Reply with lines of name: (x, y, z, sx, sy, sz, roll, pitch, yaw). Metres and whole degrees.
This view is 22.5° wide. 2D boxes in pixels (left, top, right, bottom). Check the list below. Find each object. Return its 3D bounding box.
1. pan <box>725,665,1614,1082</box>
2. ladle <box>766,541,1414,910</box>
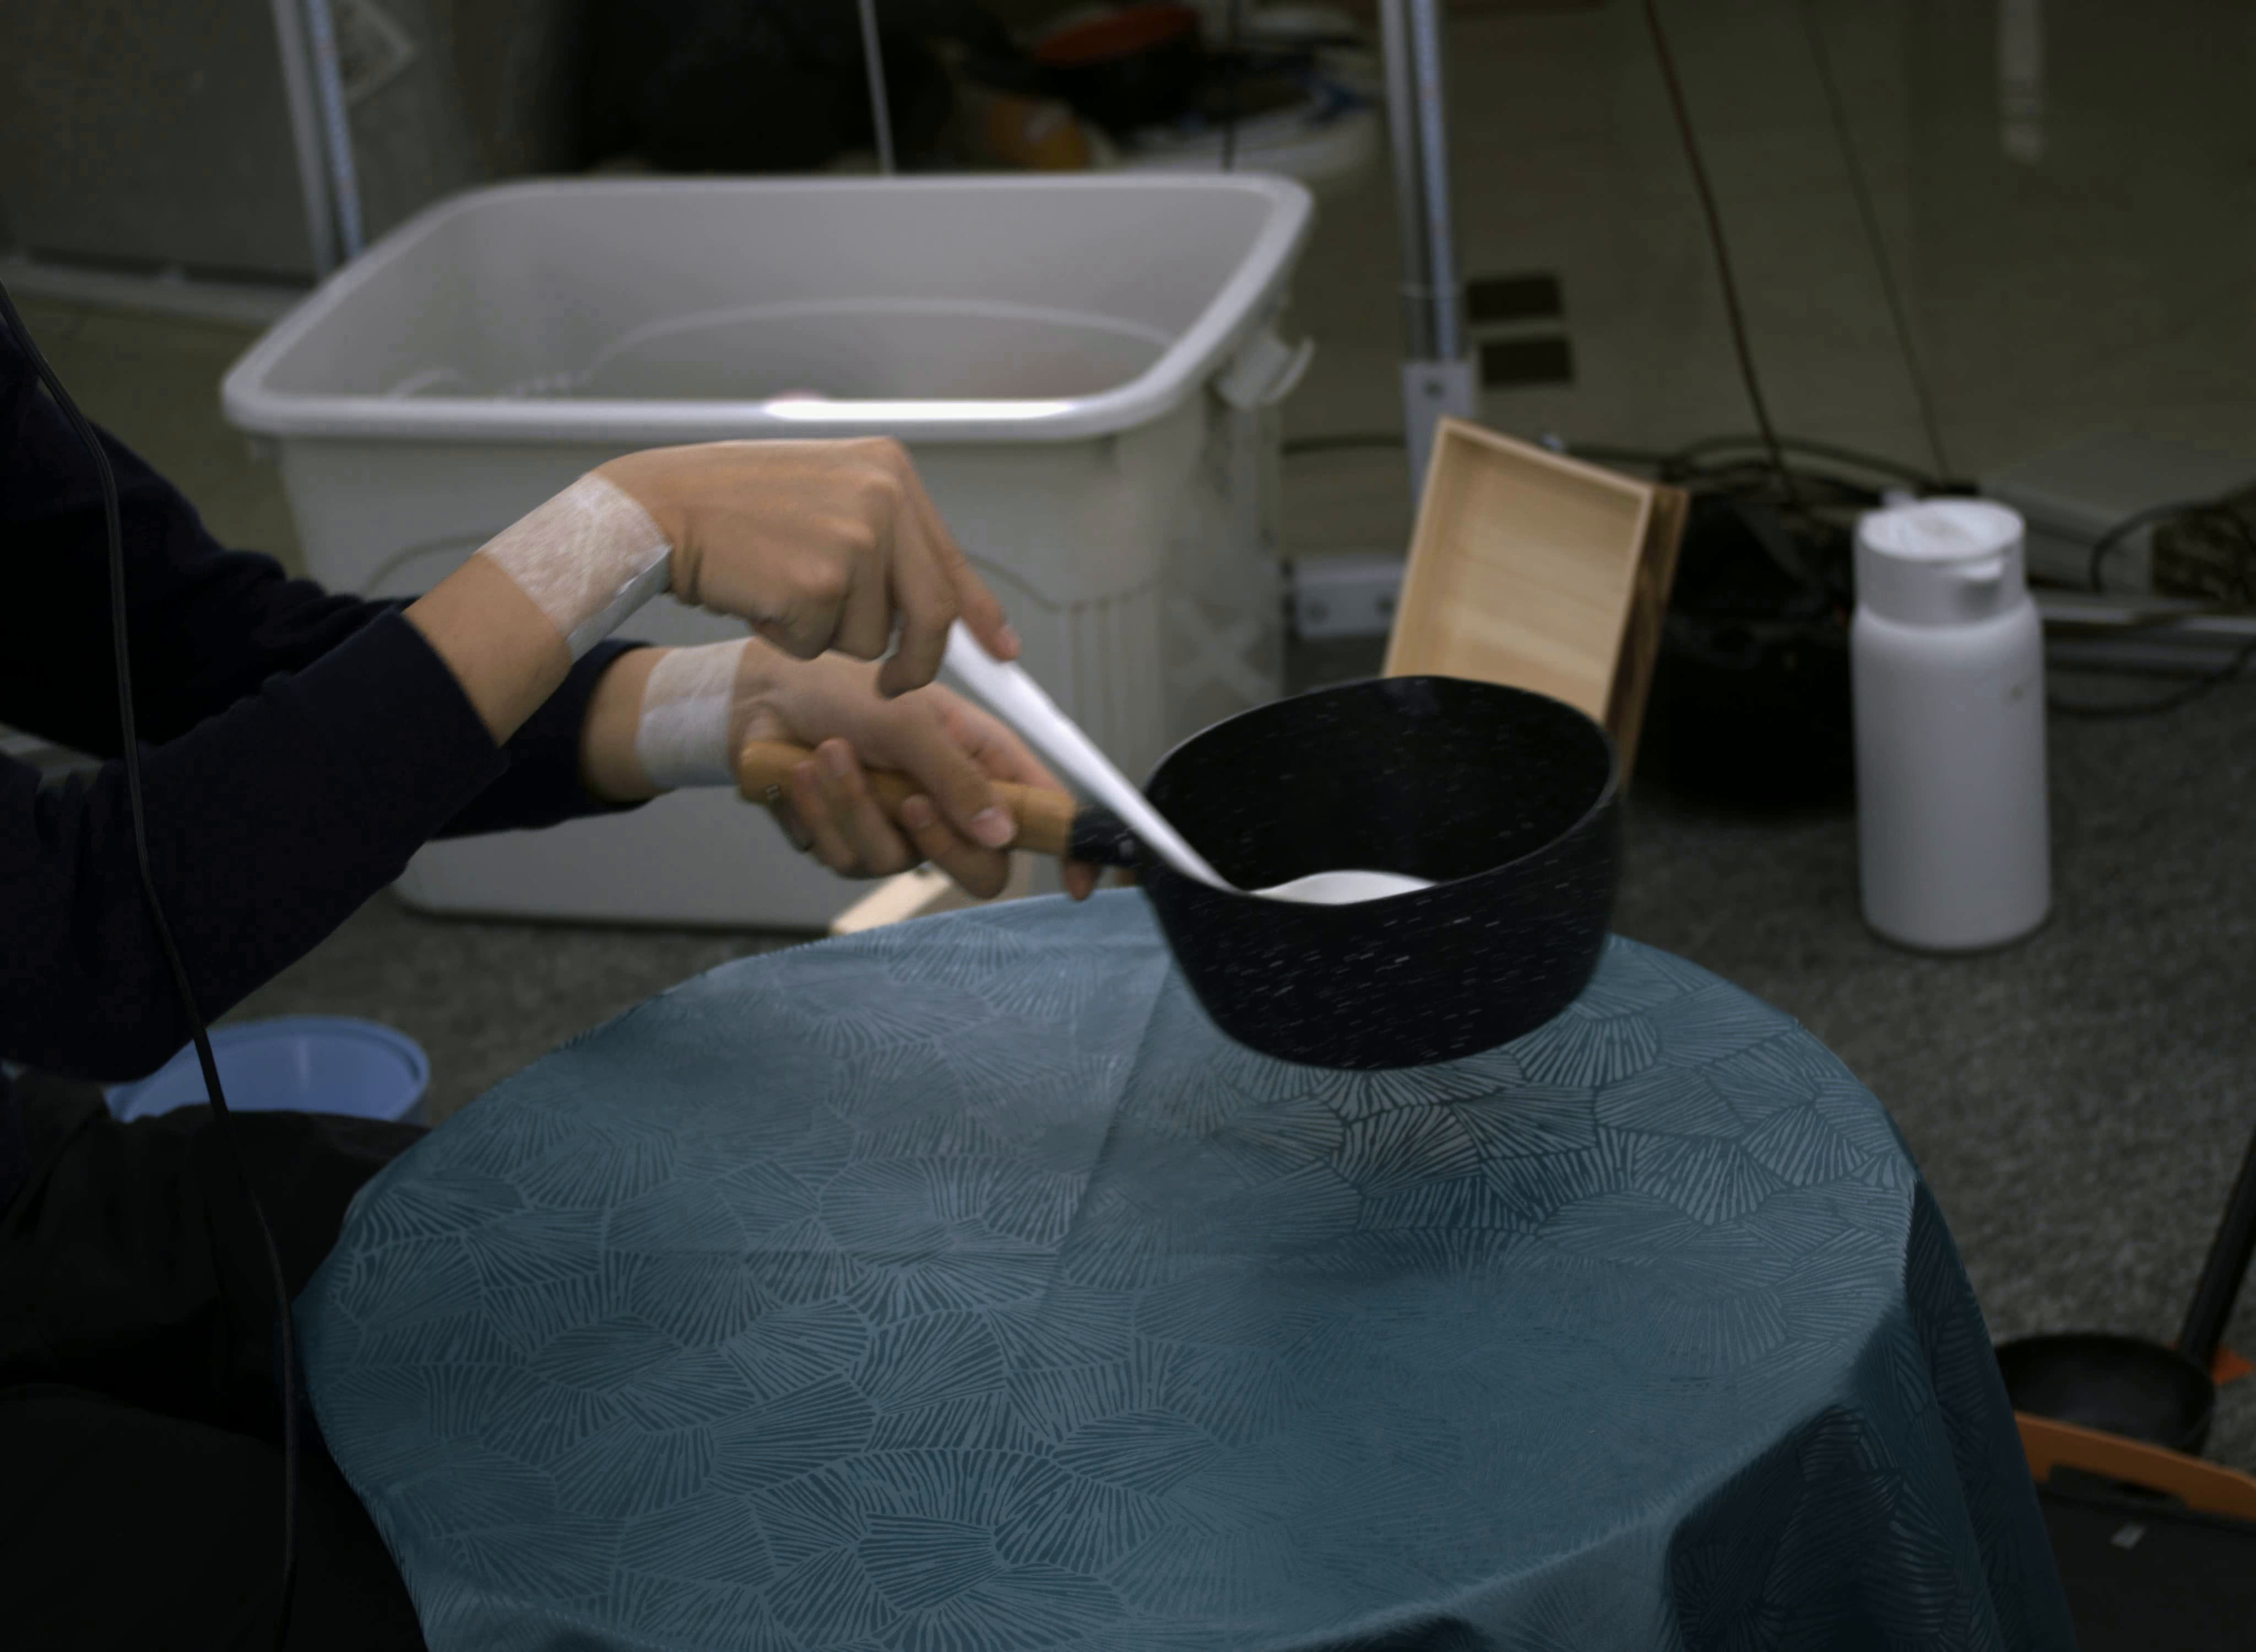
pan: (0.015, 0.015, 2.151, 0.342, 0.110, 0.204, -1, 29, 13)
ladle: (0.001, -0.021, 2.084, 0.070, 0.295, 0.089, -45, 21, 18)
